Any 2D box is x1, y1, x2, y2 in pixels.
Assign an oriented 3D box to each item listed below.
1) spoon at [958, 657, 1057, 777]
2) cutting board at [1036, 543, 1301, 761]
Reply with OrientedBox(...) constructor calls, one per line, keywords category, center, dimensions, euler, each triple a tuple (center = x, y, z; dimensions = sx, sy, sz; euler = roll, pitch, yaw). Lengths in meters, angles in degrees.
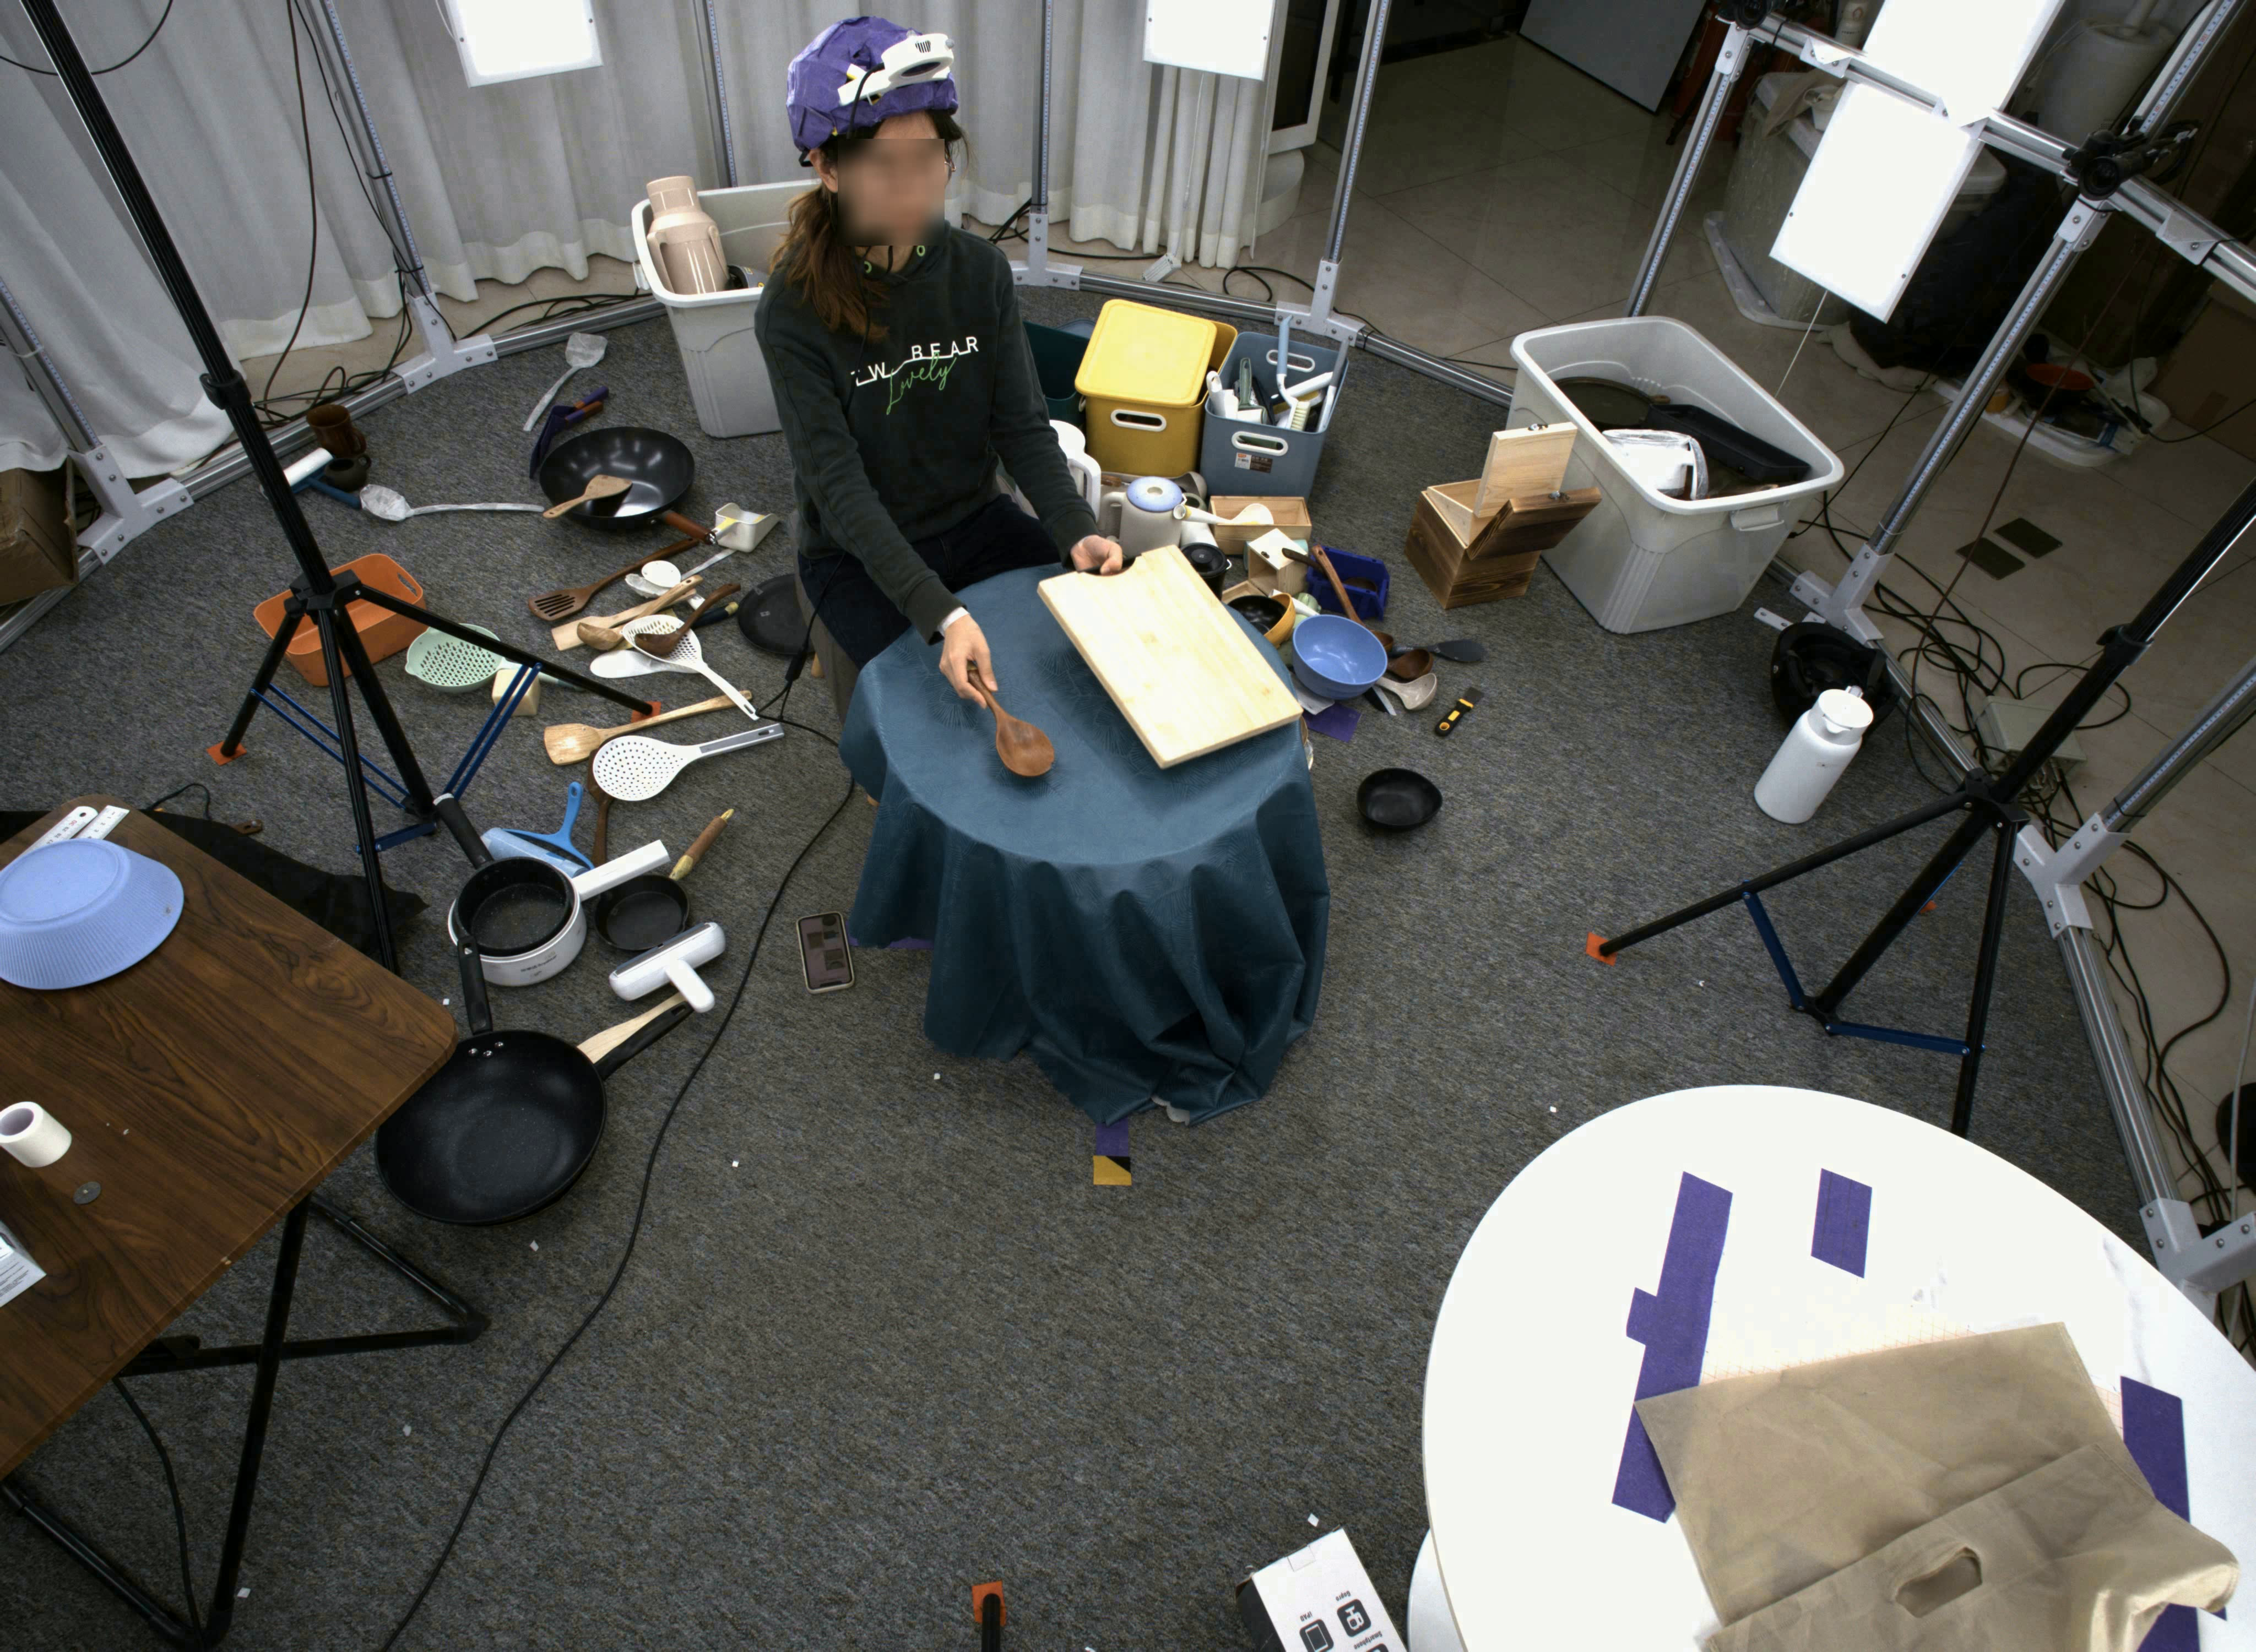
OrientedBox(category="spoon", center=(-0.171, -0.150, 1.747), dimensions=(0.076, 0.017, 0.219), euler=(-27, 66, -19))
OrientedBox(category="cutting board", center=(0.055, -0.255, 1.822), dimensions=(0.251, 0.023, 0.355), euler=(-21, 62, -29))
